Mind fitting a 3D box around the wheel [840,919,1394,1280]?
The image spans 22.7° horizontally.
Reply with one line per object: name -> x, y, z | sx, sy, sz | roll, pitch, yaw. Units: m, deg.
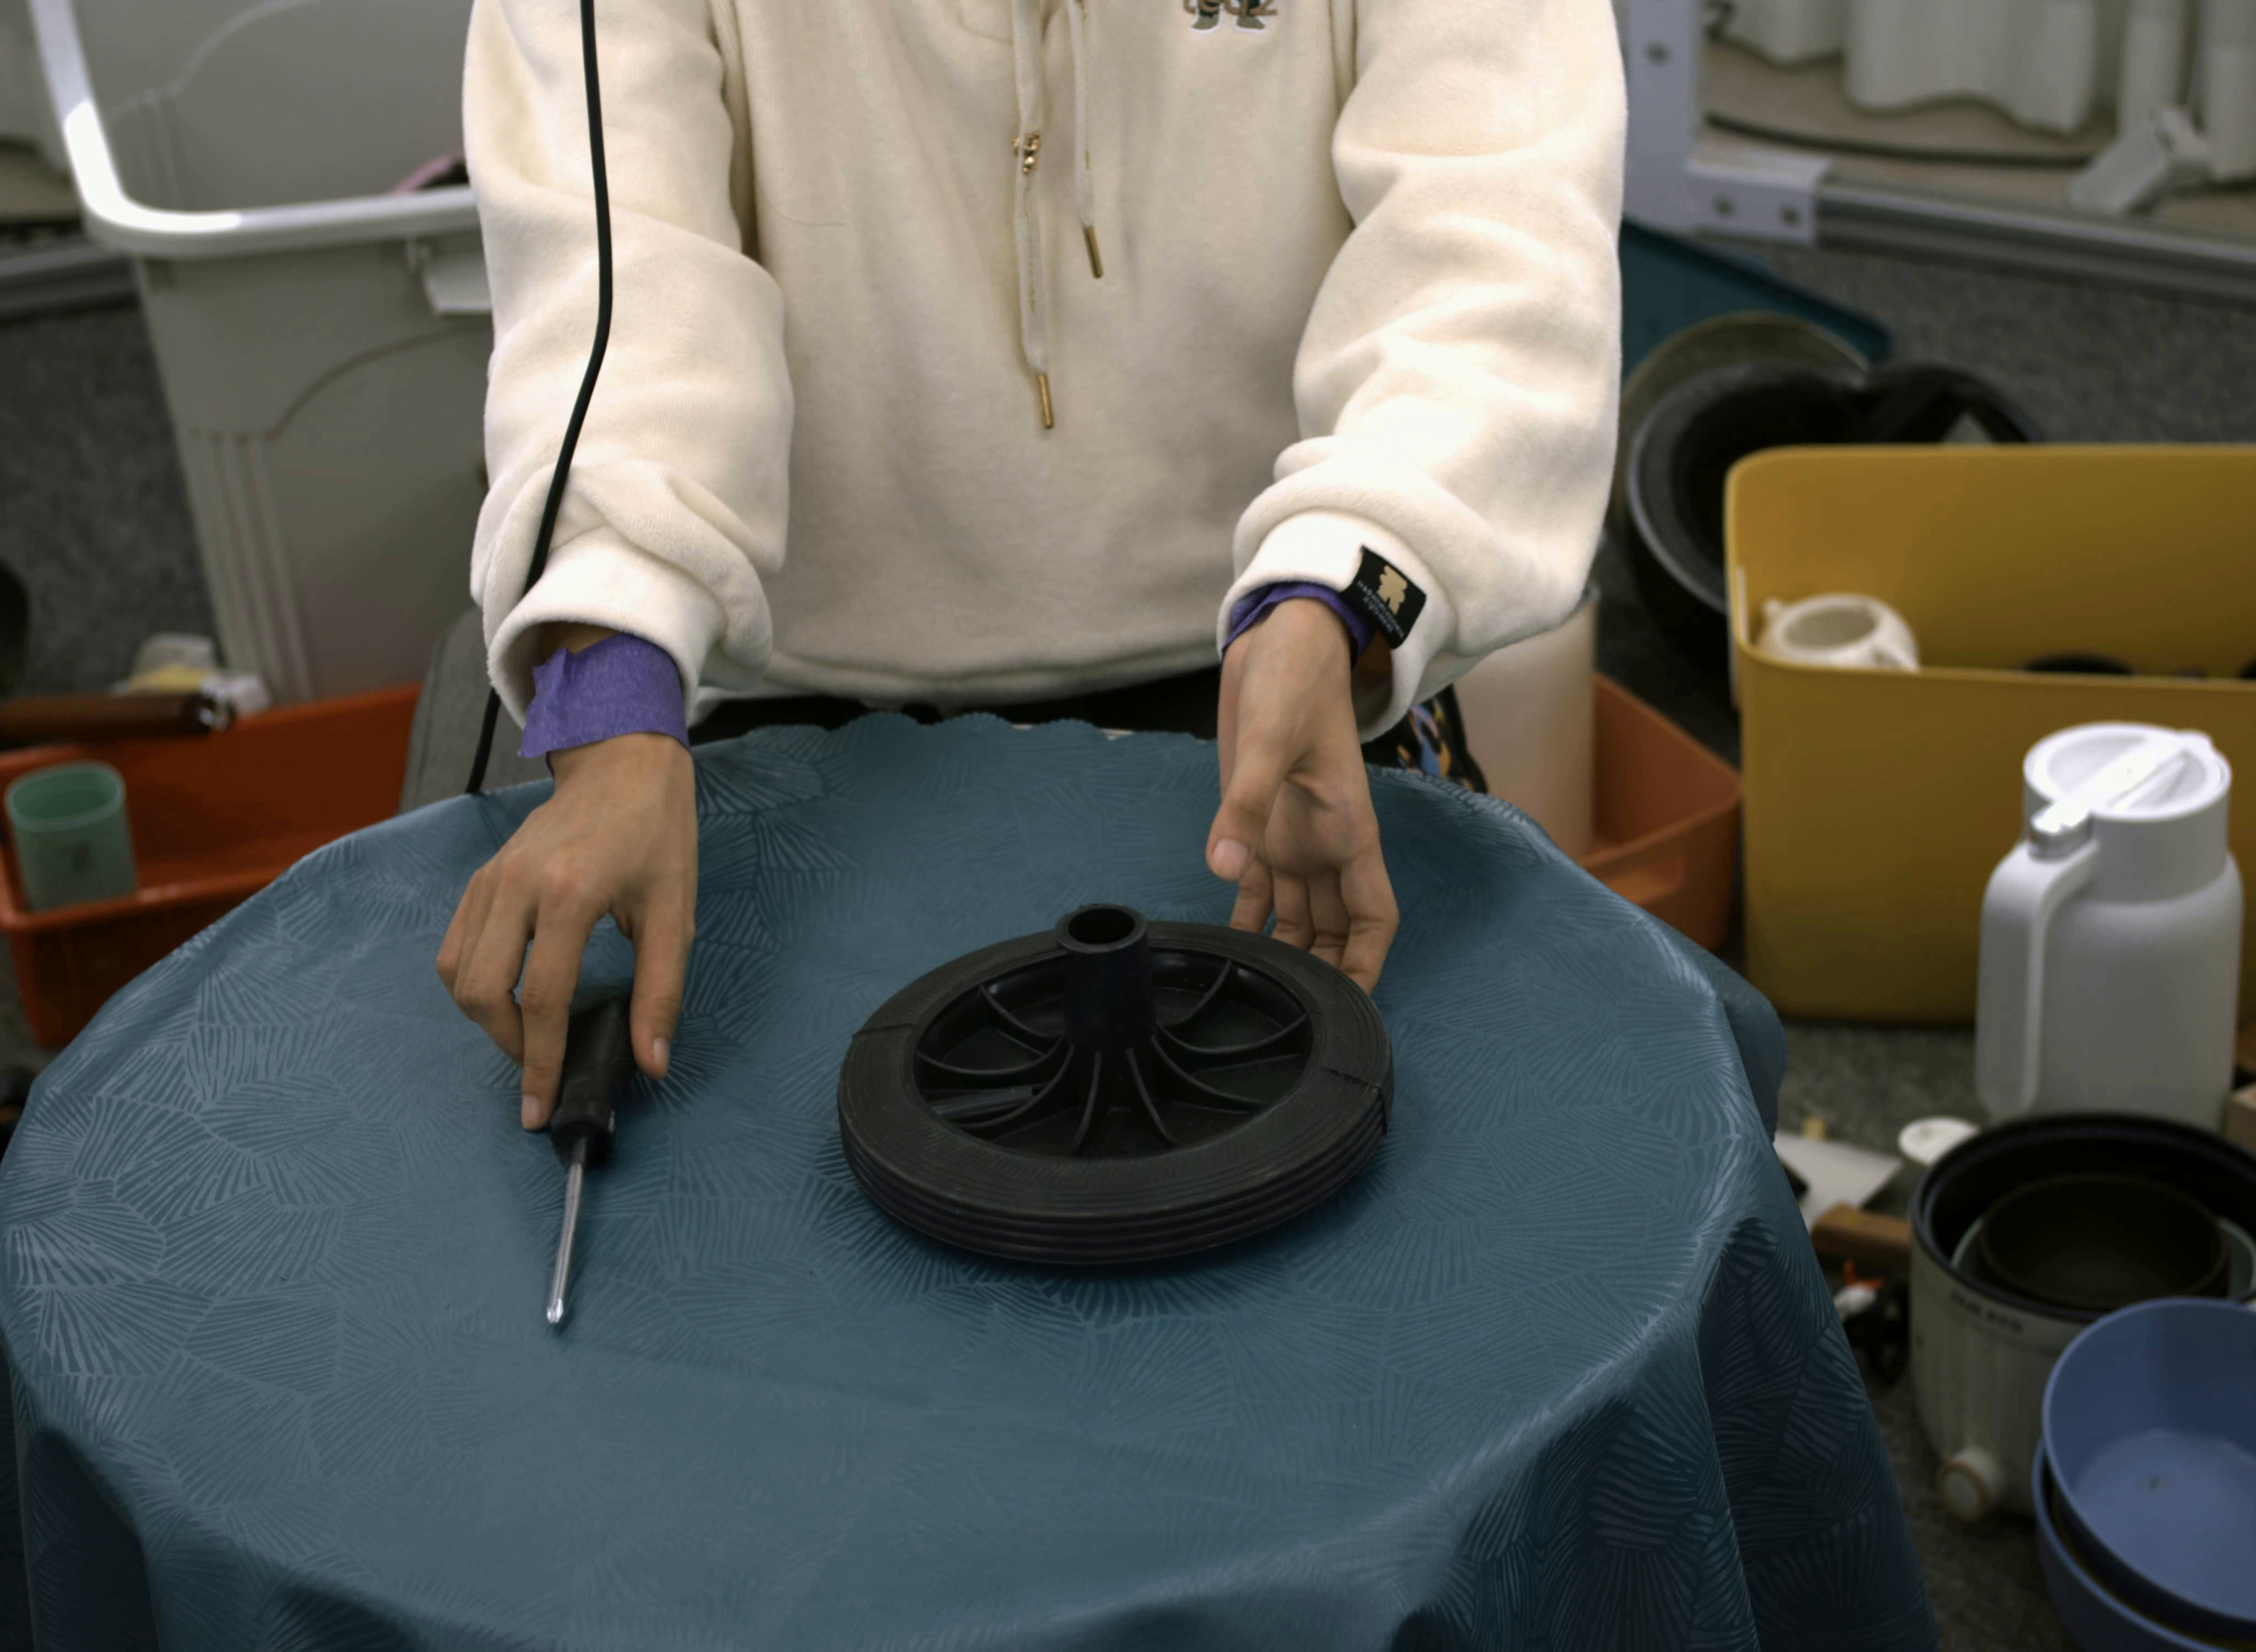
wheel -> -0.007, 0.073, 1.876 | 0.191, 0.078, 0.188 | -25, 34, -29

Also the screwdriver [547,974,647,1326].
screwdriver -> -0.179, 0.108, 1.880 | 0.031, 0.031, 0.199 | -3, 29, 0
